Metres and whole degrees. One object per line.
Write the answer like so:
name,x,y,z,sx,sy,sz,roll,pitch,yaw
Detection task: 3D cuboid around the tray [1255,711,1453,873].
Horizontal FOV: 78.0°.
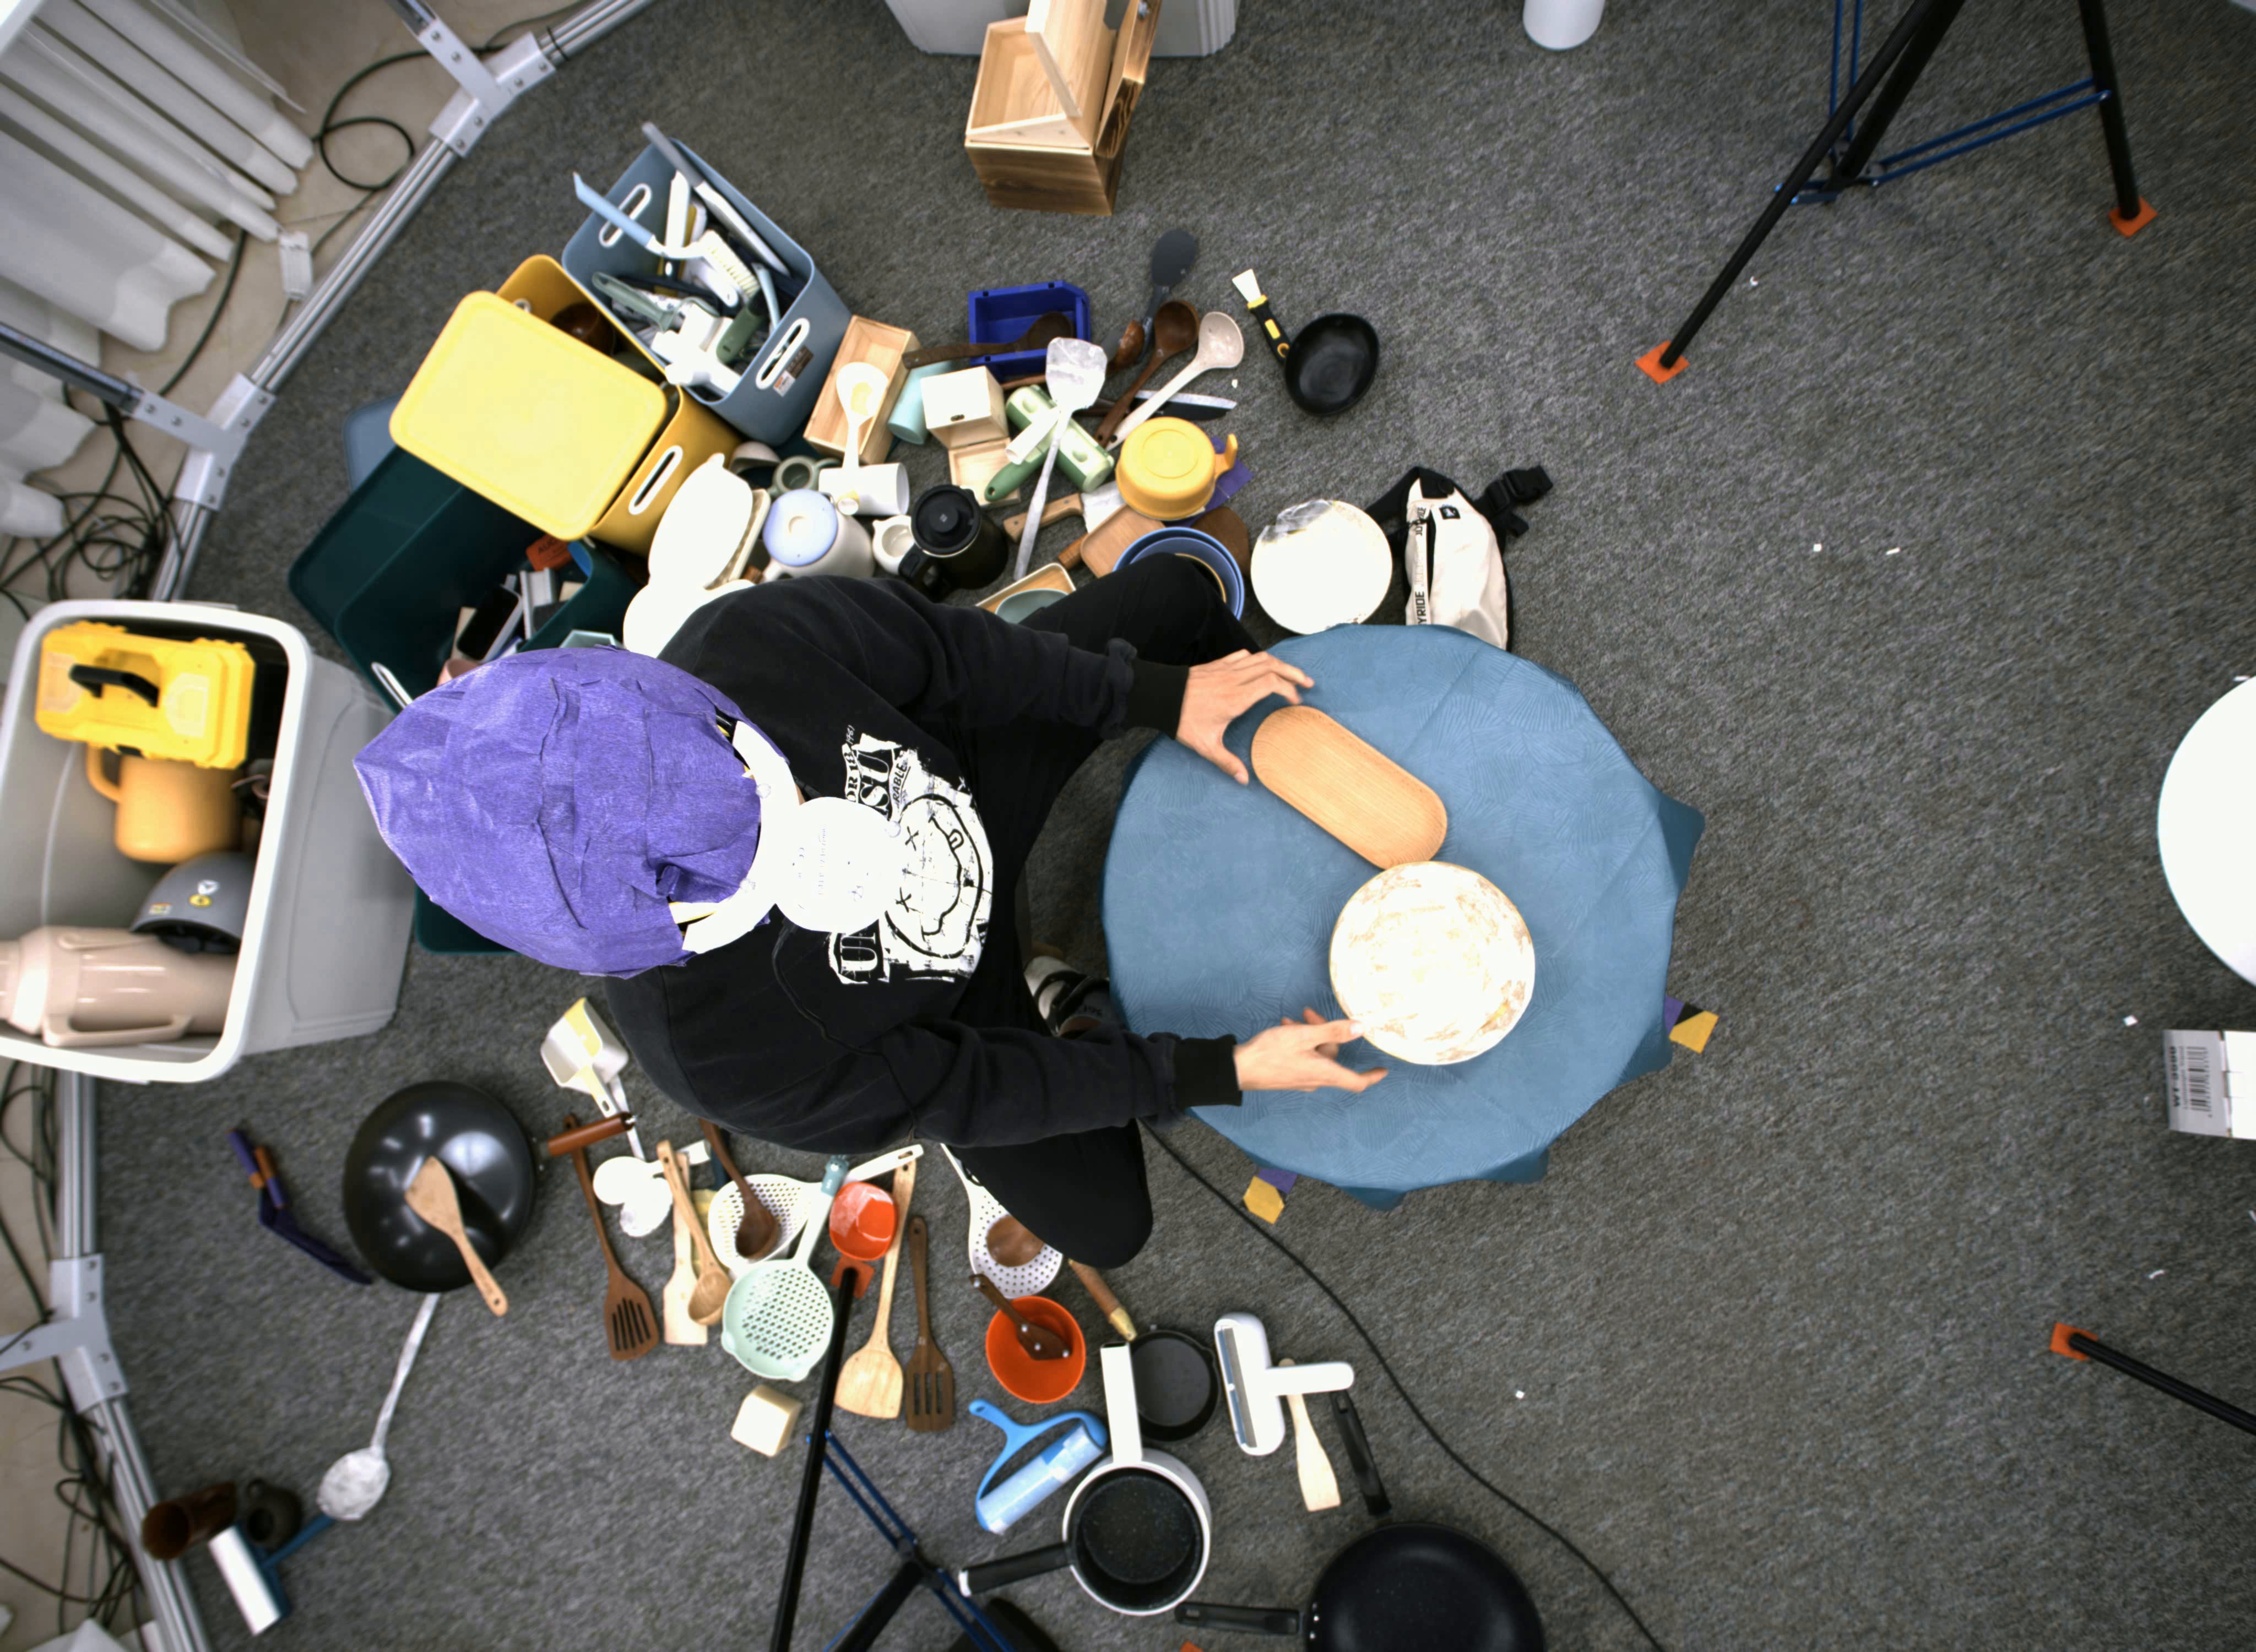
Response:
tray,0.240,-0.037,1.470,0.230,0.020,0.102,35,95,9

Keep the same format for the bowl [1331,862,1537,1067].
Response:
bowl,0.308,0.136,1.407,0.215,0.094,0.214,-1,86,11
